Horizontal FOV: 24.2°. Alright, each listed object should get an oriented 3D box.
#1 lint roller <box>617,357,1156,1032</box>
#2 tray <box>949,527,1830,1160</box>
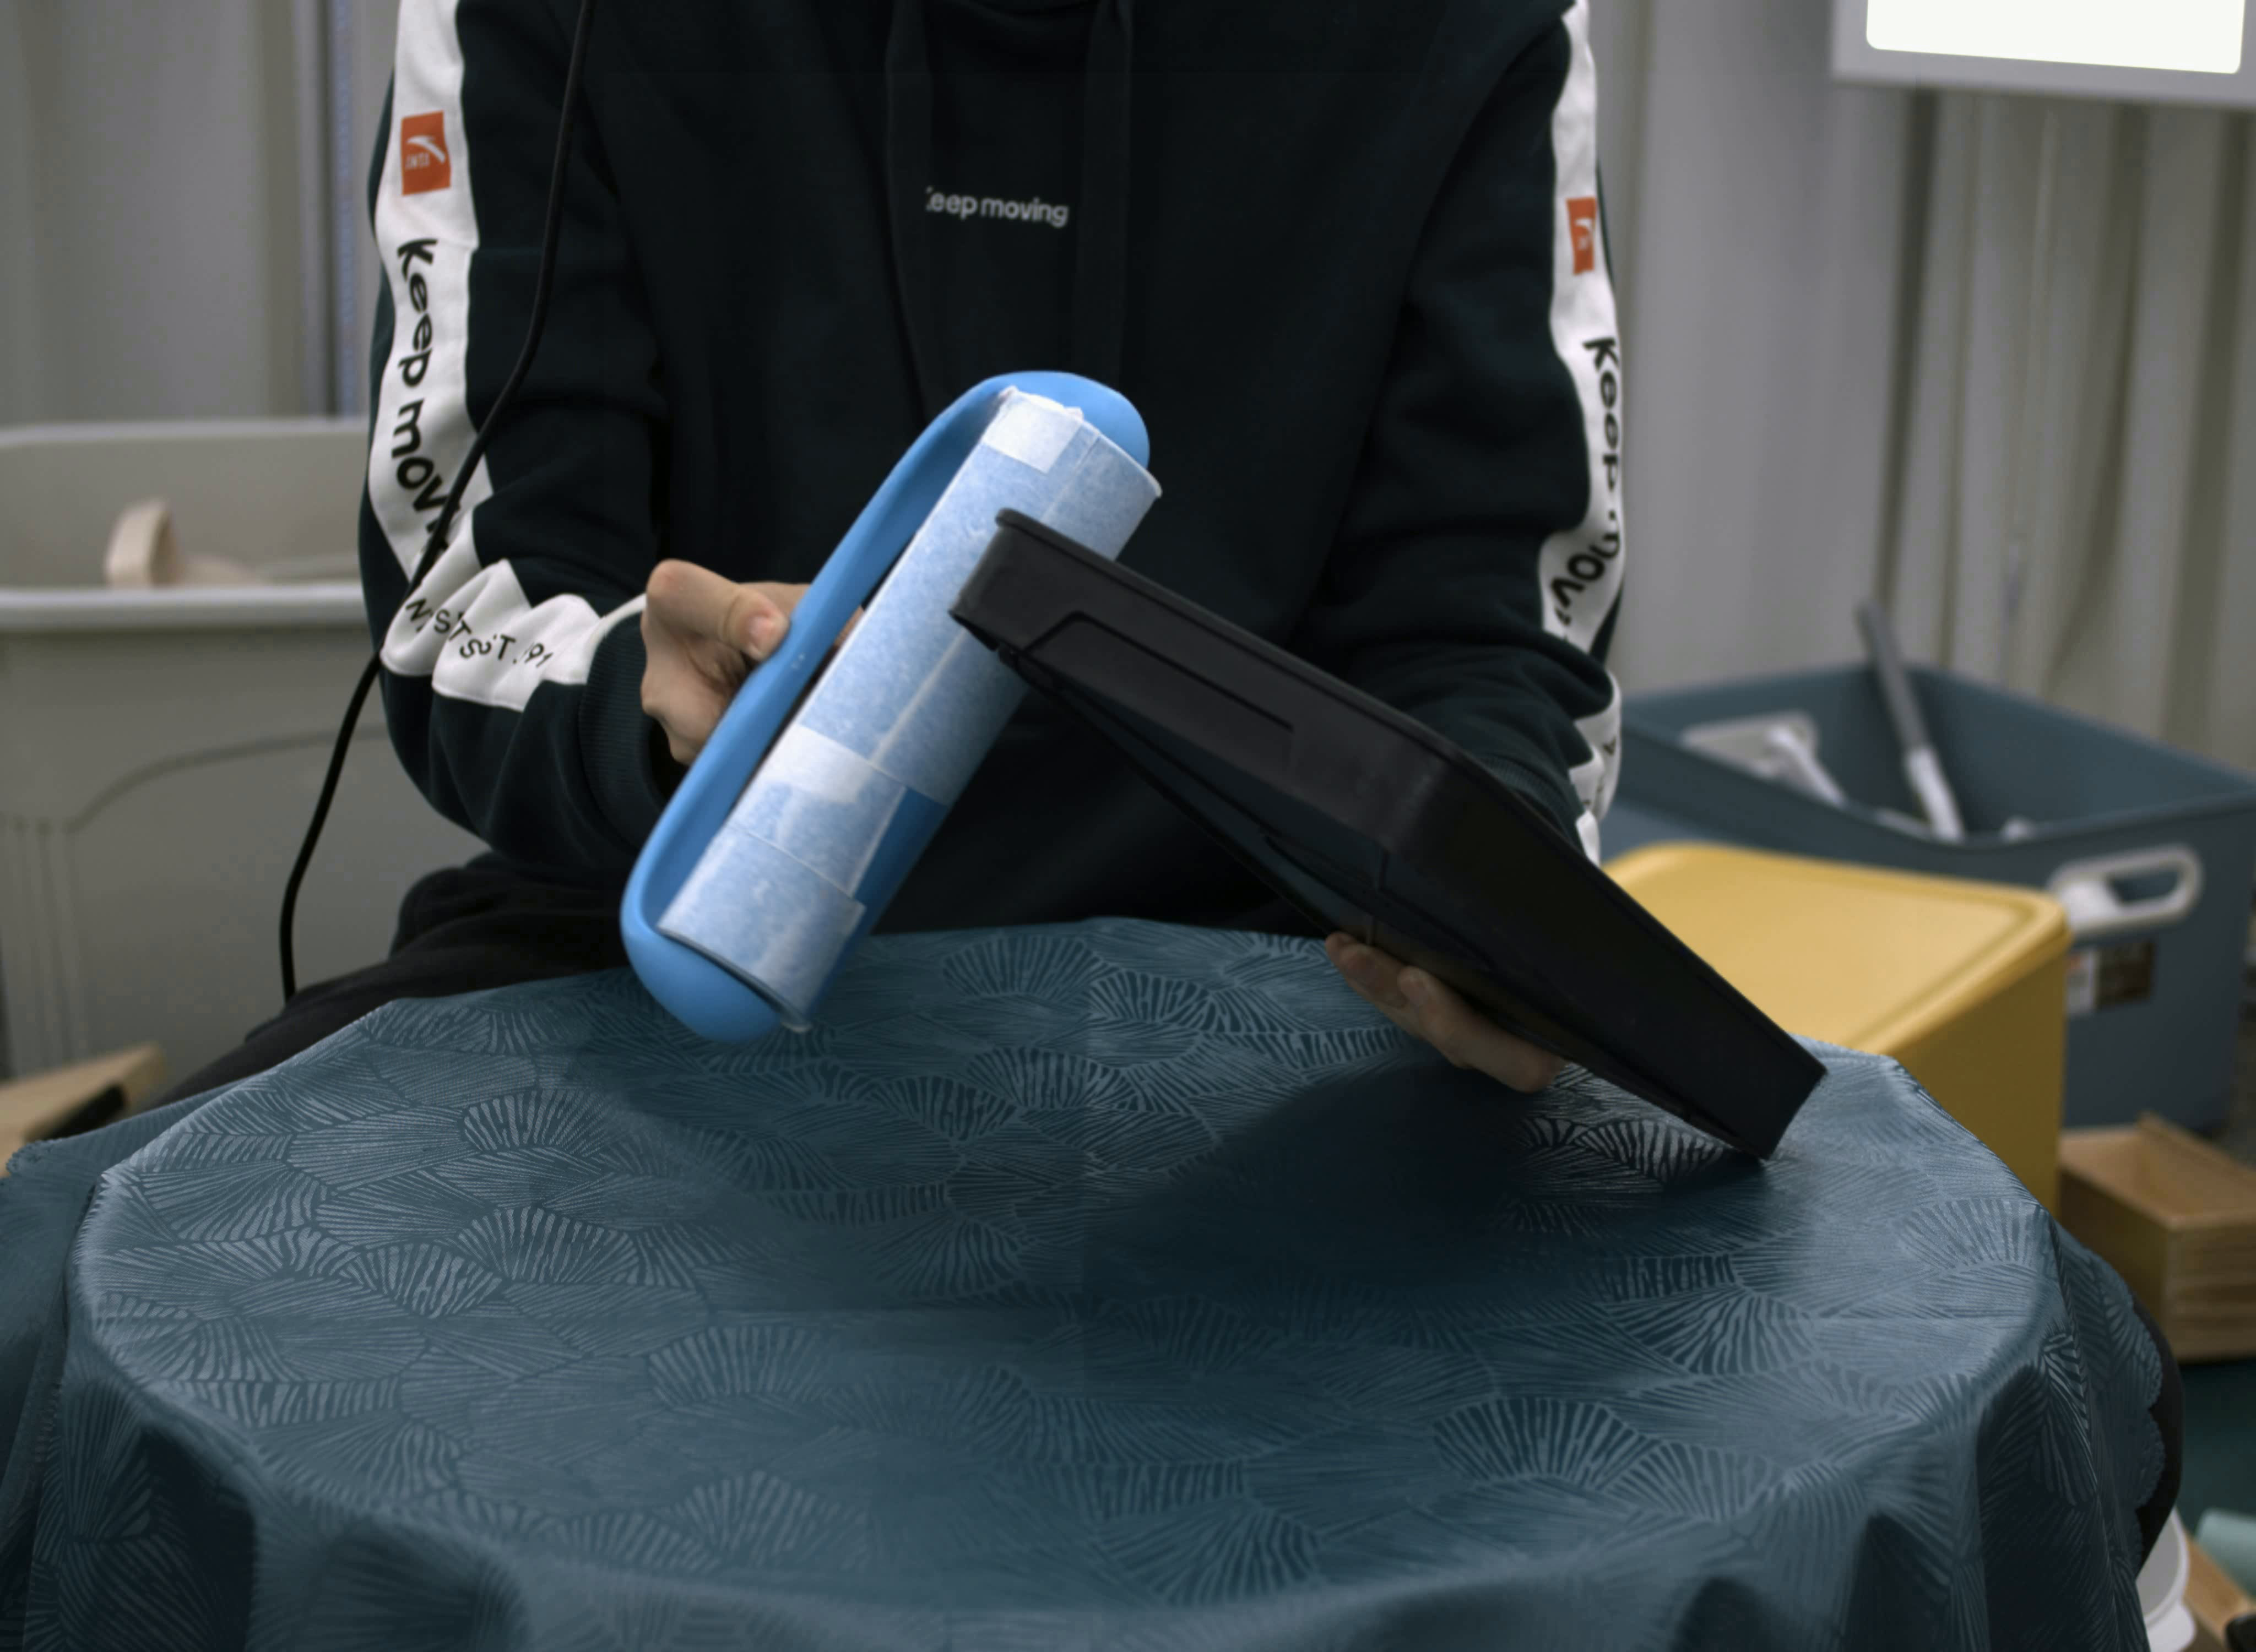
[{"bbox_3d":[-0.085,-0.037,1.593,0.068,0.229,0.179,35,-13,-15],"label":"lint roller"},{"bbox_3d":[0.083,0.011,1.569,0.182,0.037,0.322,27,-5,31],"label":"tray"}]
